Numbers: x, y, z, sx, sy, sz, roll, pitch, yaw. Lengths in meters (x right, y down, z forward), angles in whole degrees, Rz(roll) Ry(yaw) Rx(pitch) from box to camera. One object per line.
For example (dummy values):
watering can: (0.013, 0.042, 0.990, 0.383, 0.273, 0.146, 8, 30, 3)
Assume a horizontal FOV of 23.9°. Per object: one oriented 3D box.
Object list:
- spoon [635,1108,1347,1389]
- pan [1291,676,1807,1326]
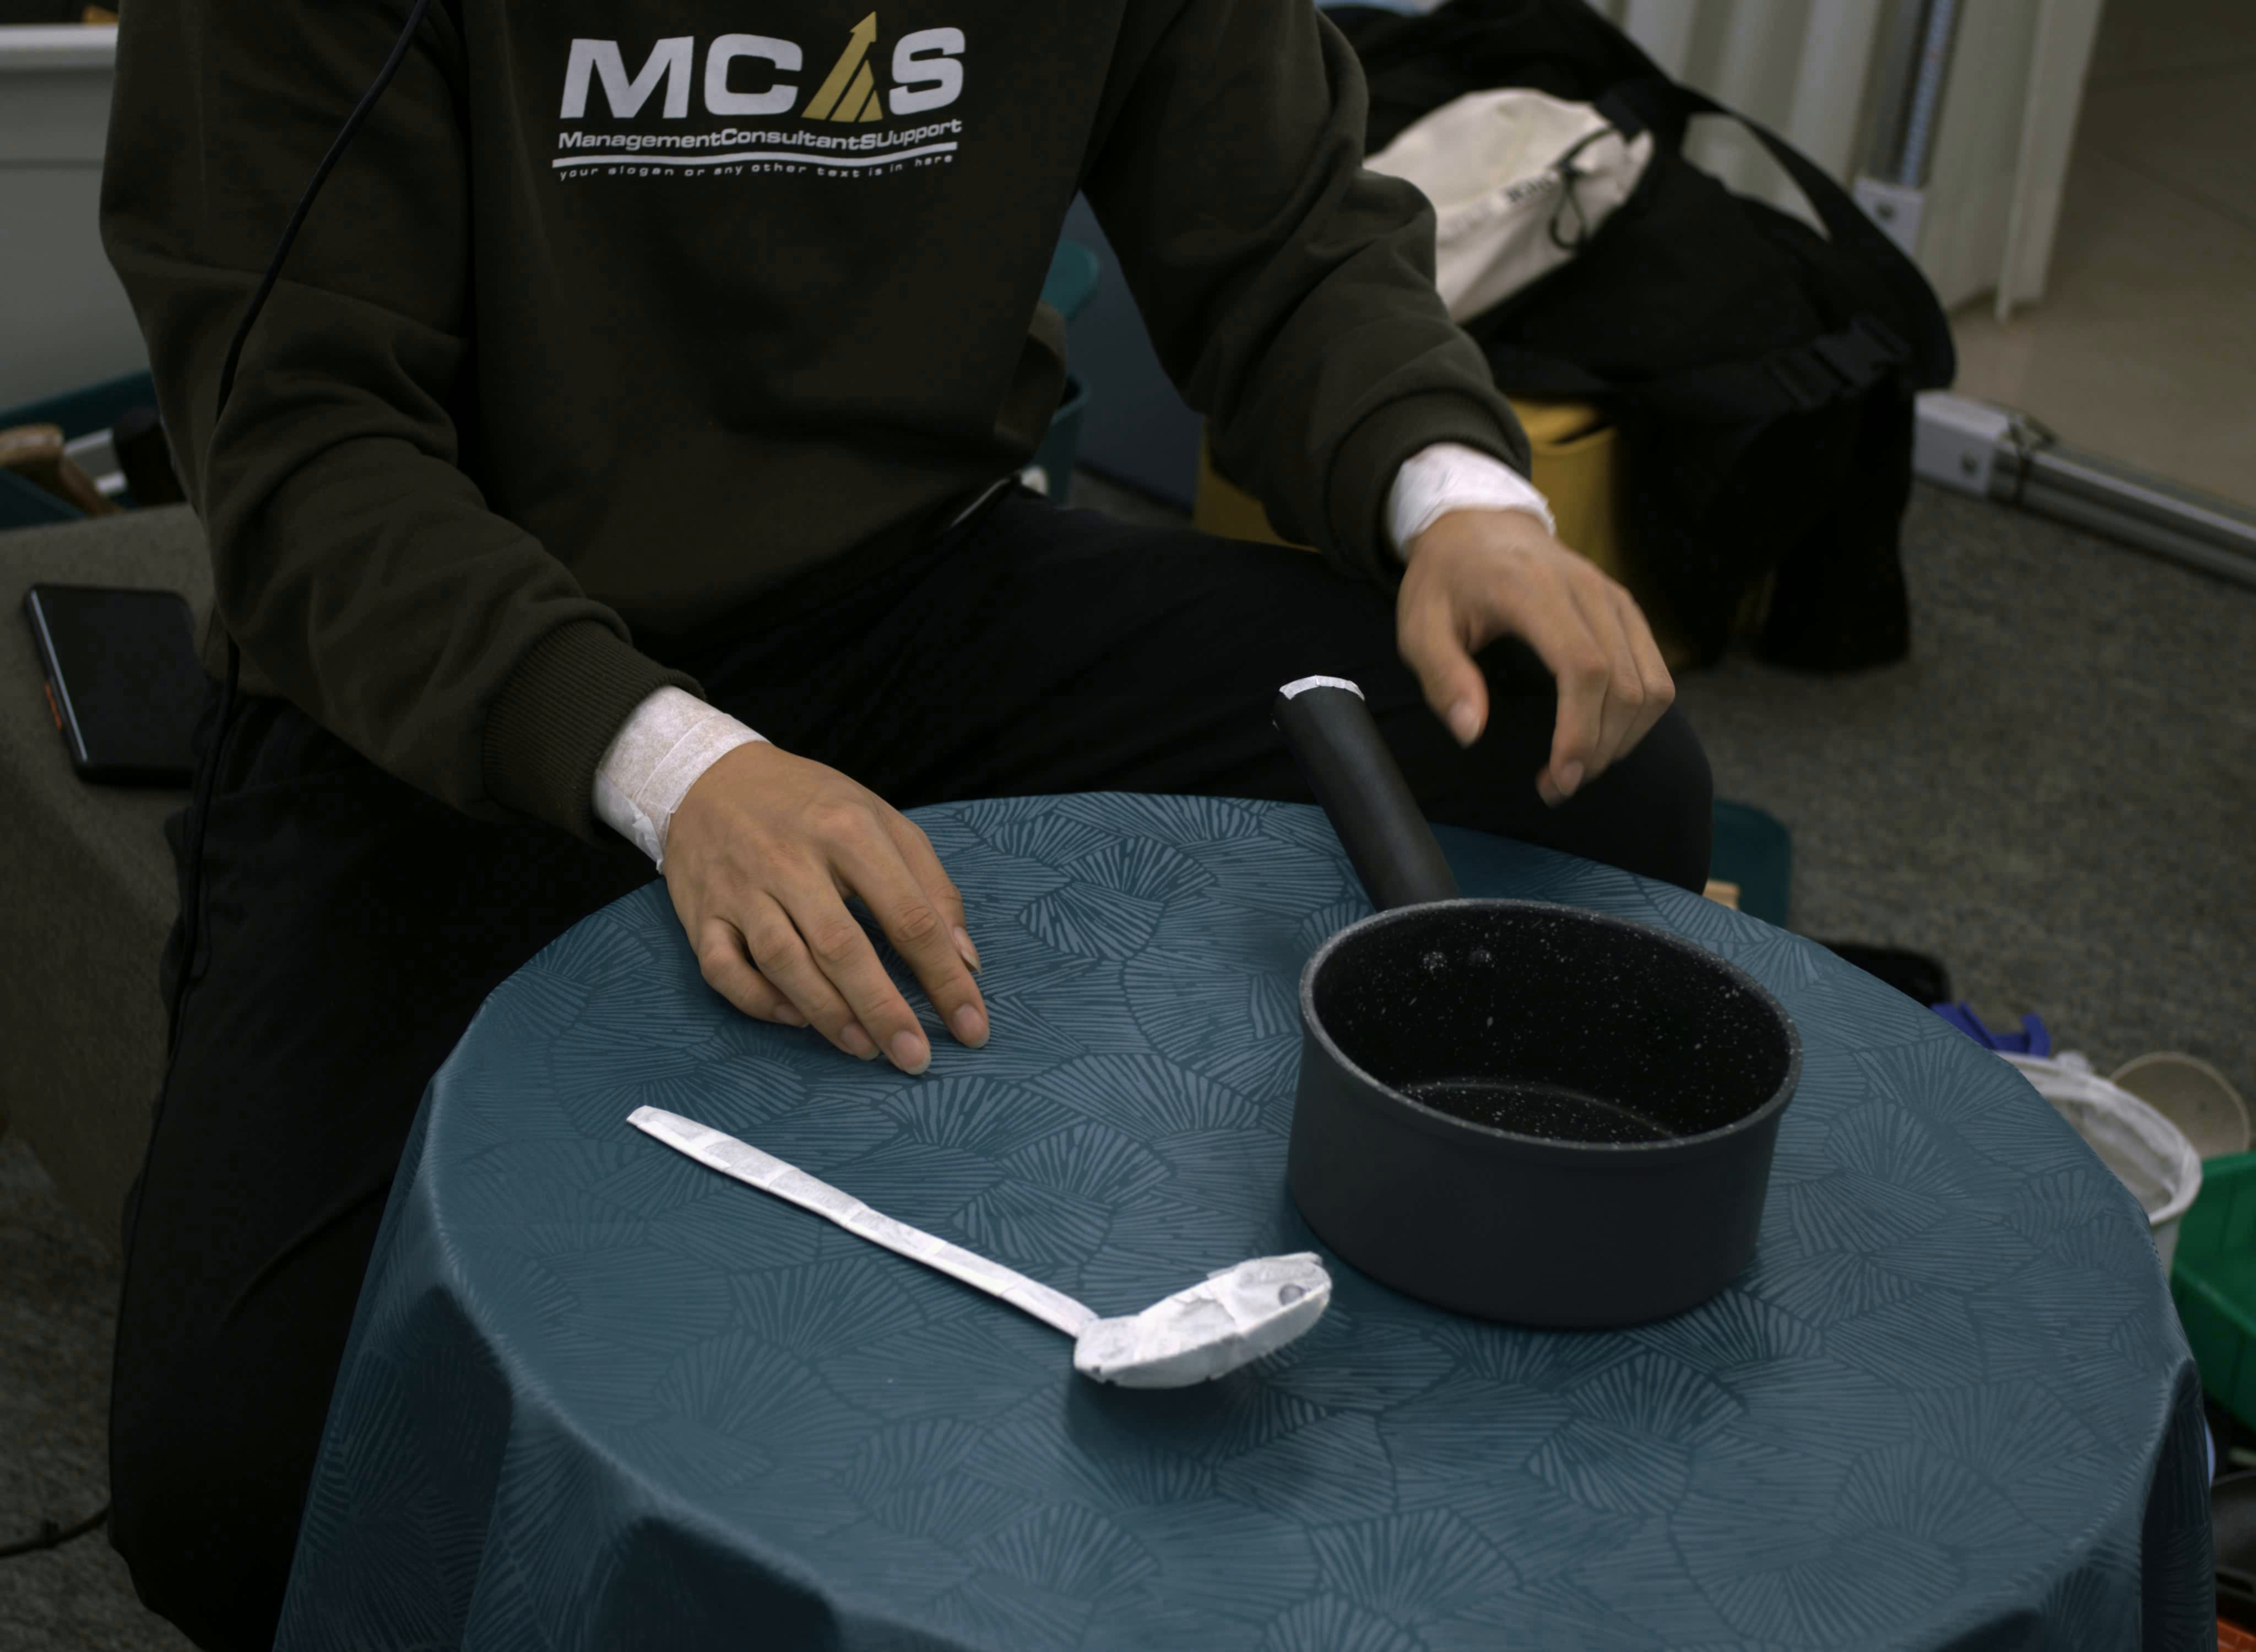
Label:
spoon: (-0.051, 0.123, 1.748, 0.279, 0.059, 0.100, 24, 21, 32)
pan: (0.119, 0.058, 1.870, 0.171, 0.086, 0.331, 0, 28, -16)
